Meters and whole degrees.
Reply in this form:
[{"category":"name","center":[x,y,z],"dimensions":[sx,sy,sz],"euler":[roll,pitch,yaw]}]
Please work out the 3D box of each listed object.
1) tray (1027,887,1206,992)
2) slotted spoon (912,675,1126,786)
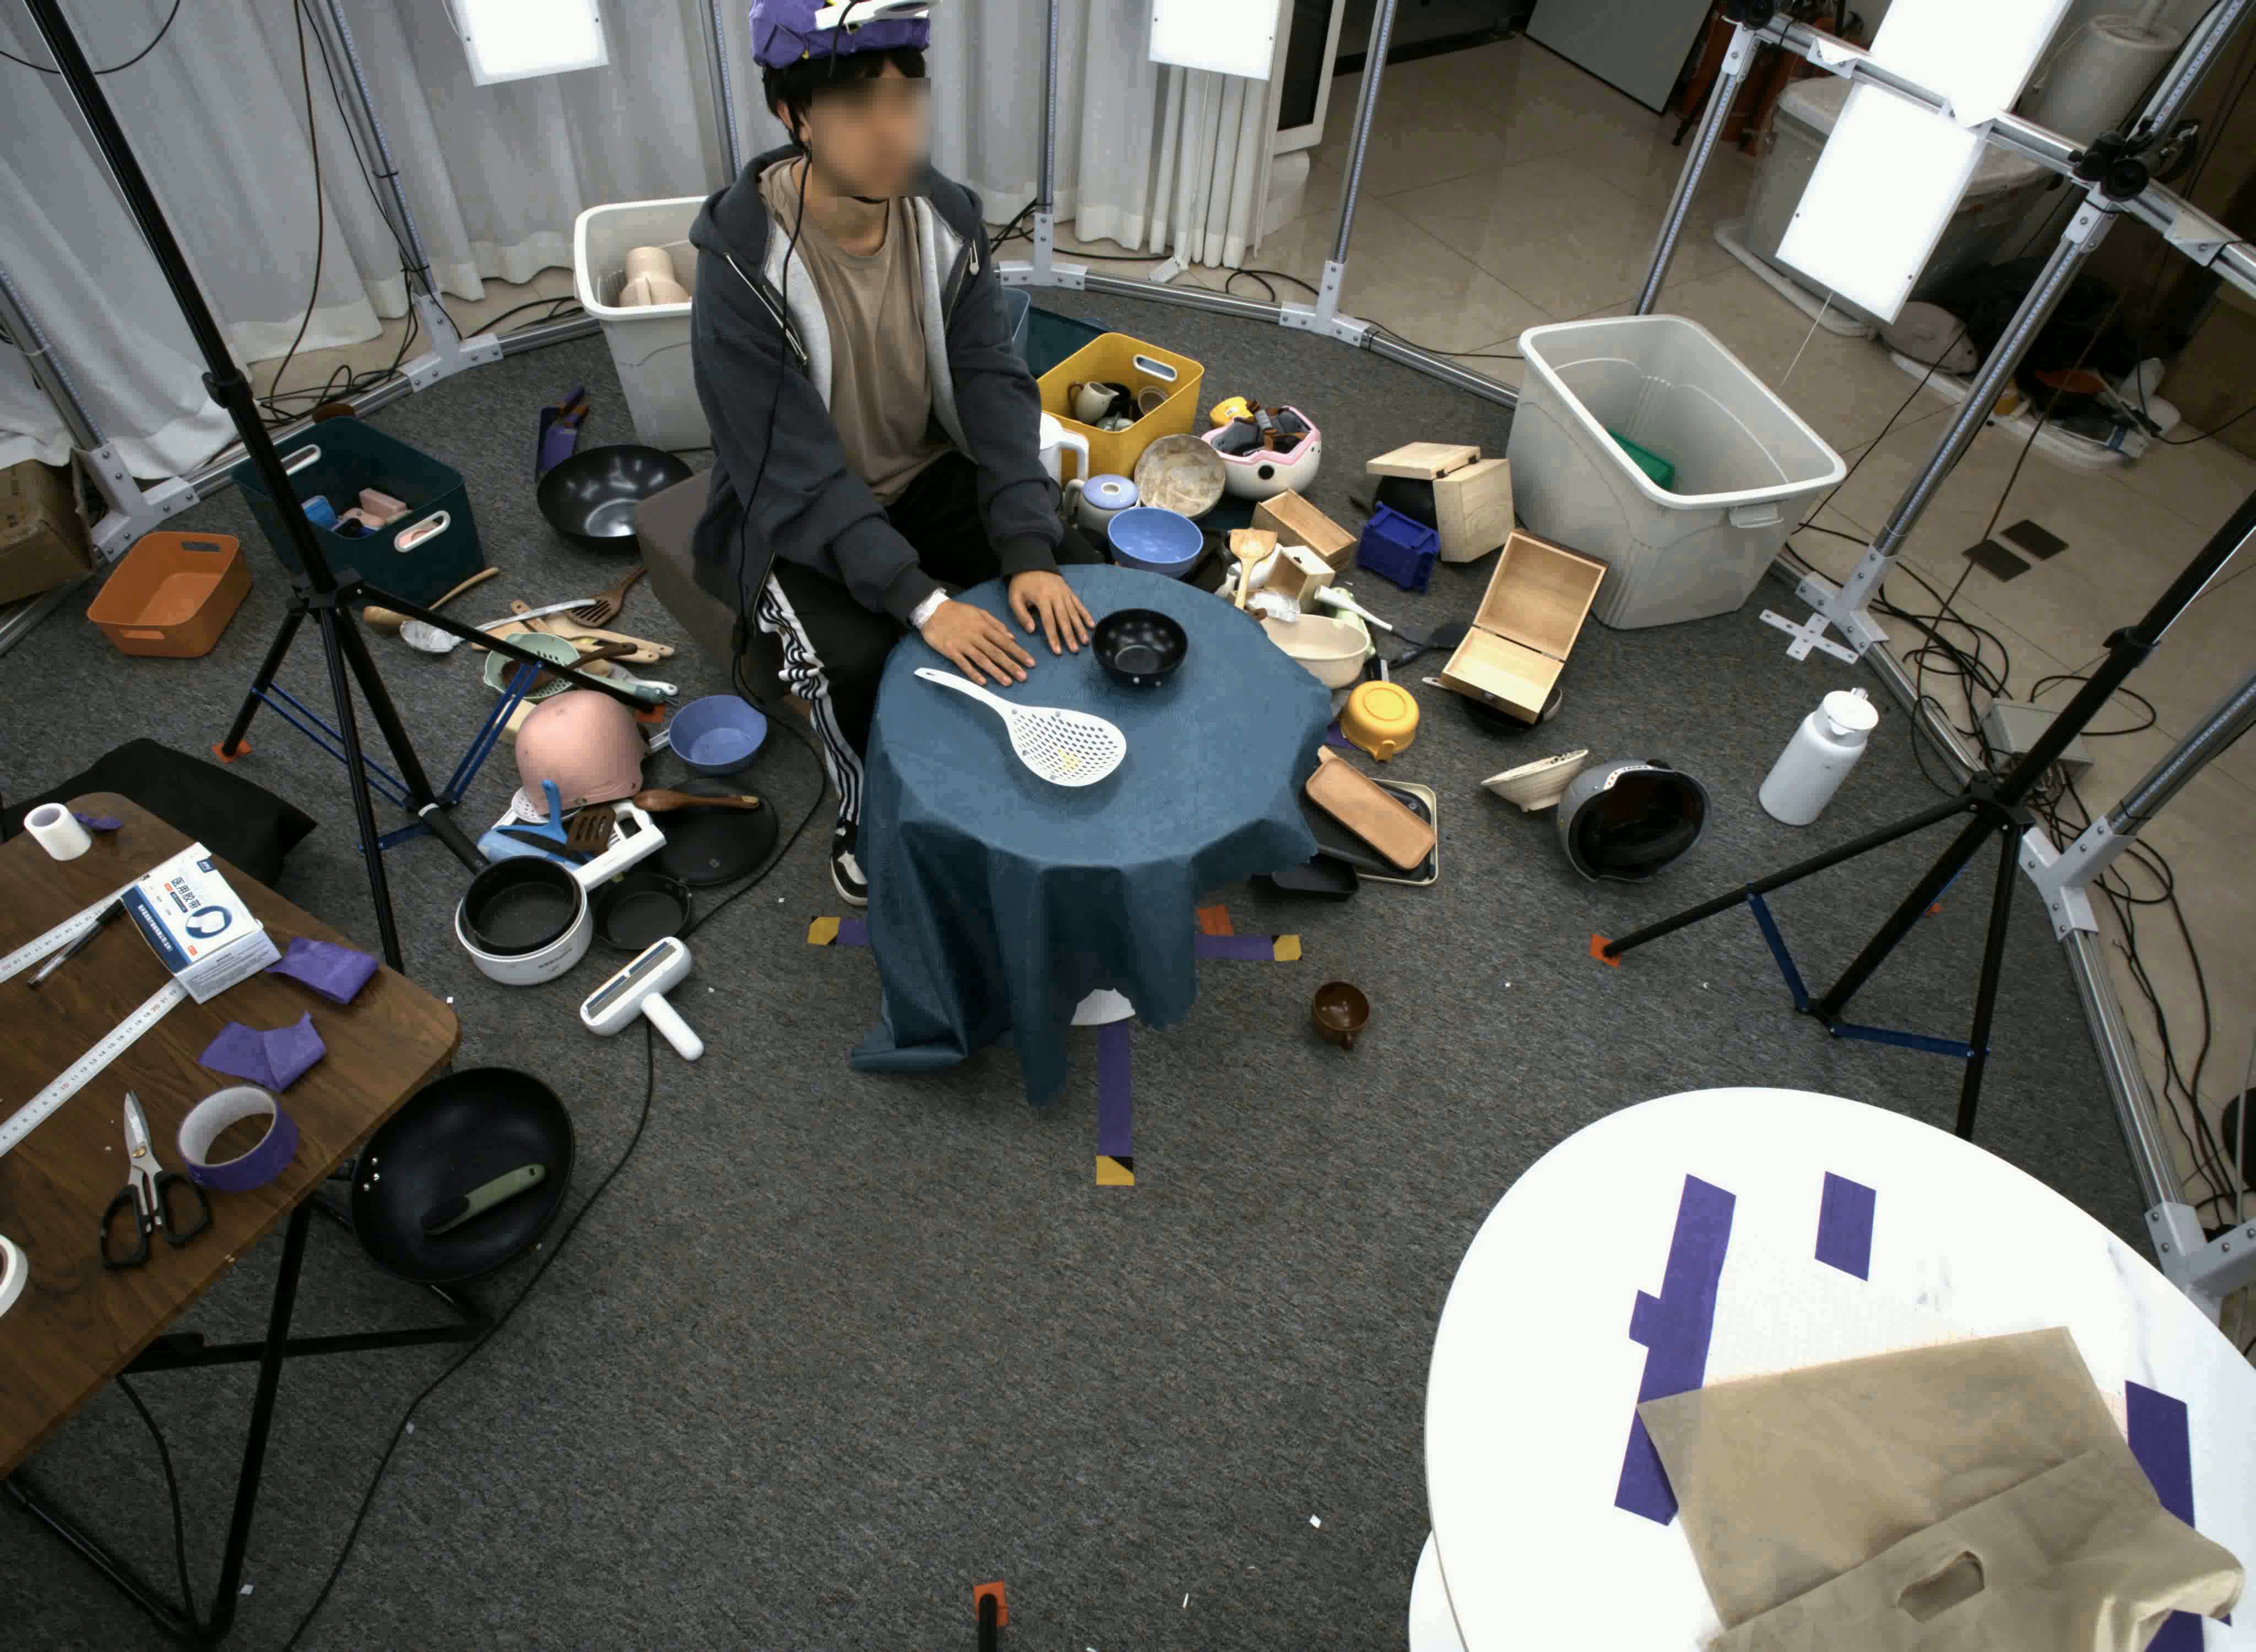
[{"category":"tray","center":[-0.019,0.194,2.202],"dimensions":[0.300,0.027,0.196],"euler":[3,49,-3]},{"category":"slotted spoon","center":[-0.160,-0.148,1.758],"dimensions":[0.352,0.049,0.138],"euler":[31,57,22]}]
